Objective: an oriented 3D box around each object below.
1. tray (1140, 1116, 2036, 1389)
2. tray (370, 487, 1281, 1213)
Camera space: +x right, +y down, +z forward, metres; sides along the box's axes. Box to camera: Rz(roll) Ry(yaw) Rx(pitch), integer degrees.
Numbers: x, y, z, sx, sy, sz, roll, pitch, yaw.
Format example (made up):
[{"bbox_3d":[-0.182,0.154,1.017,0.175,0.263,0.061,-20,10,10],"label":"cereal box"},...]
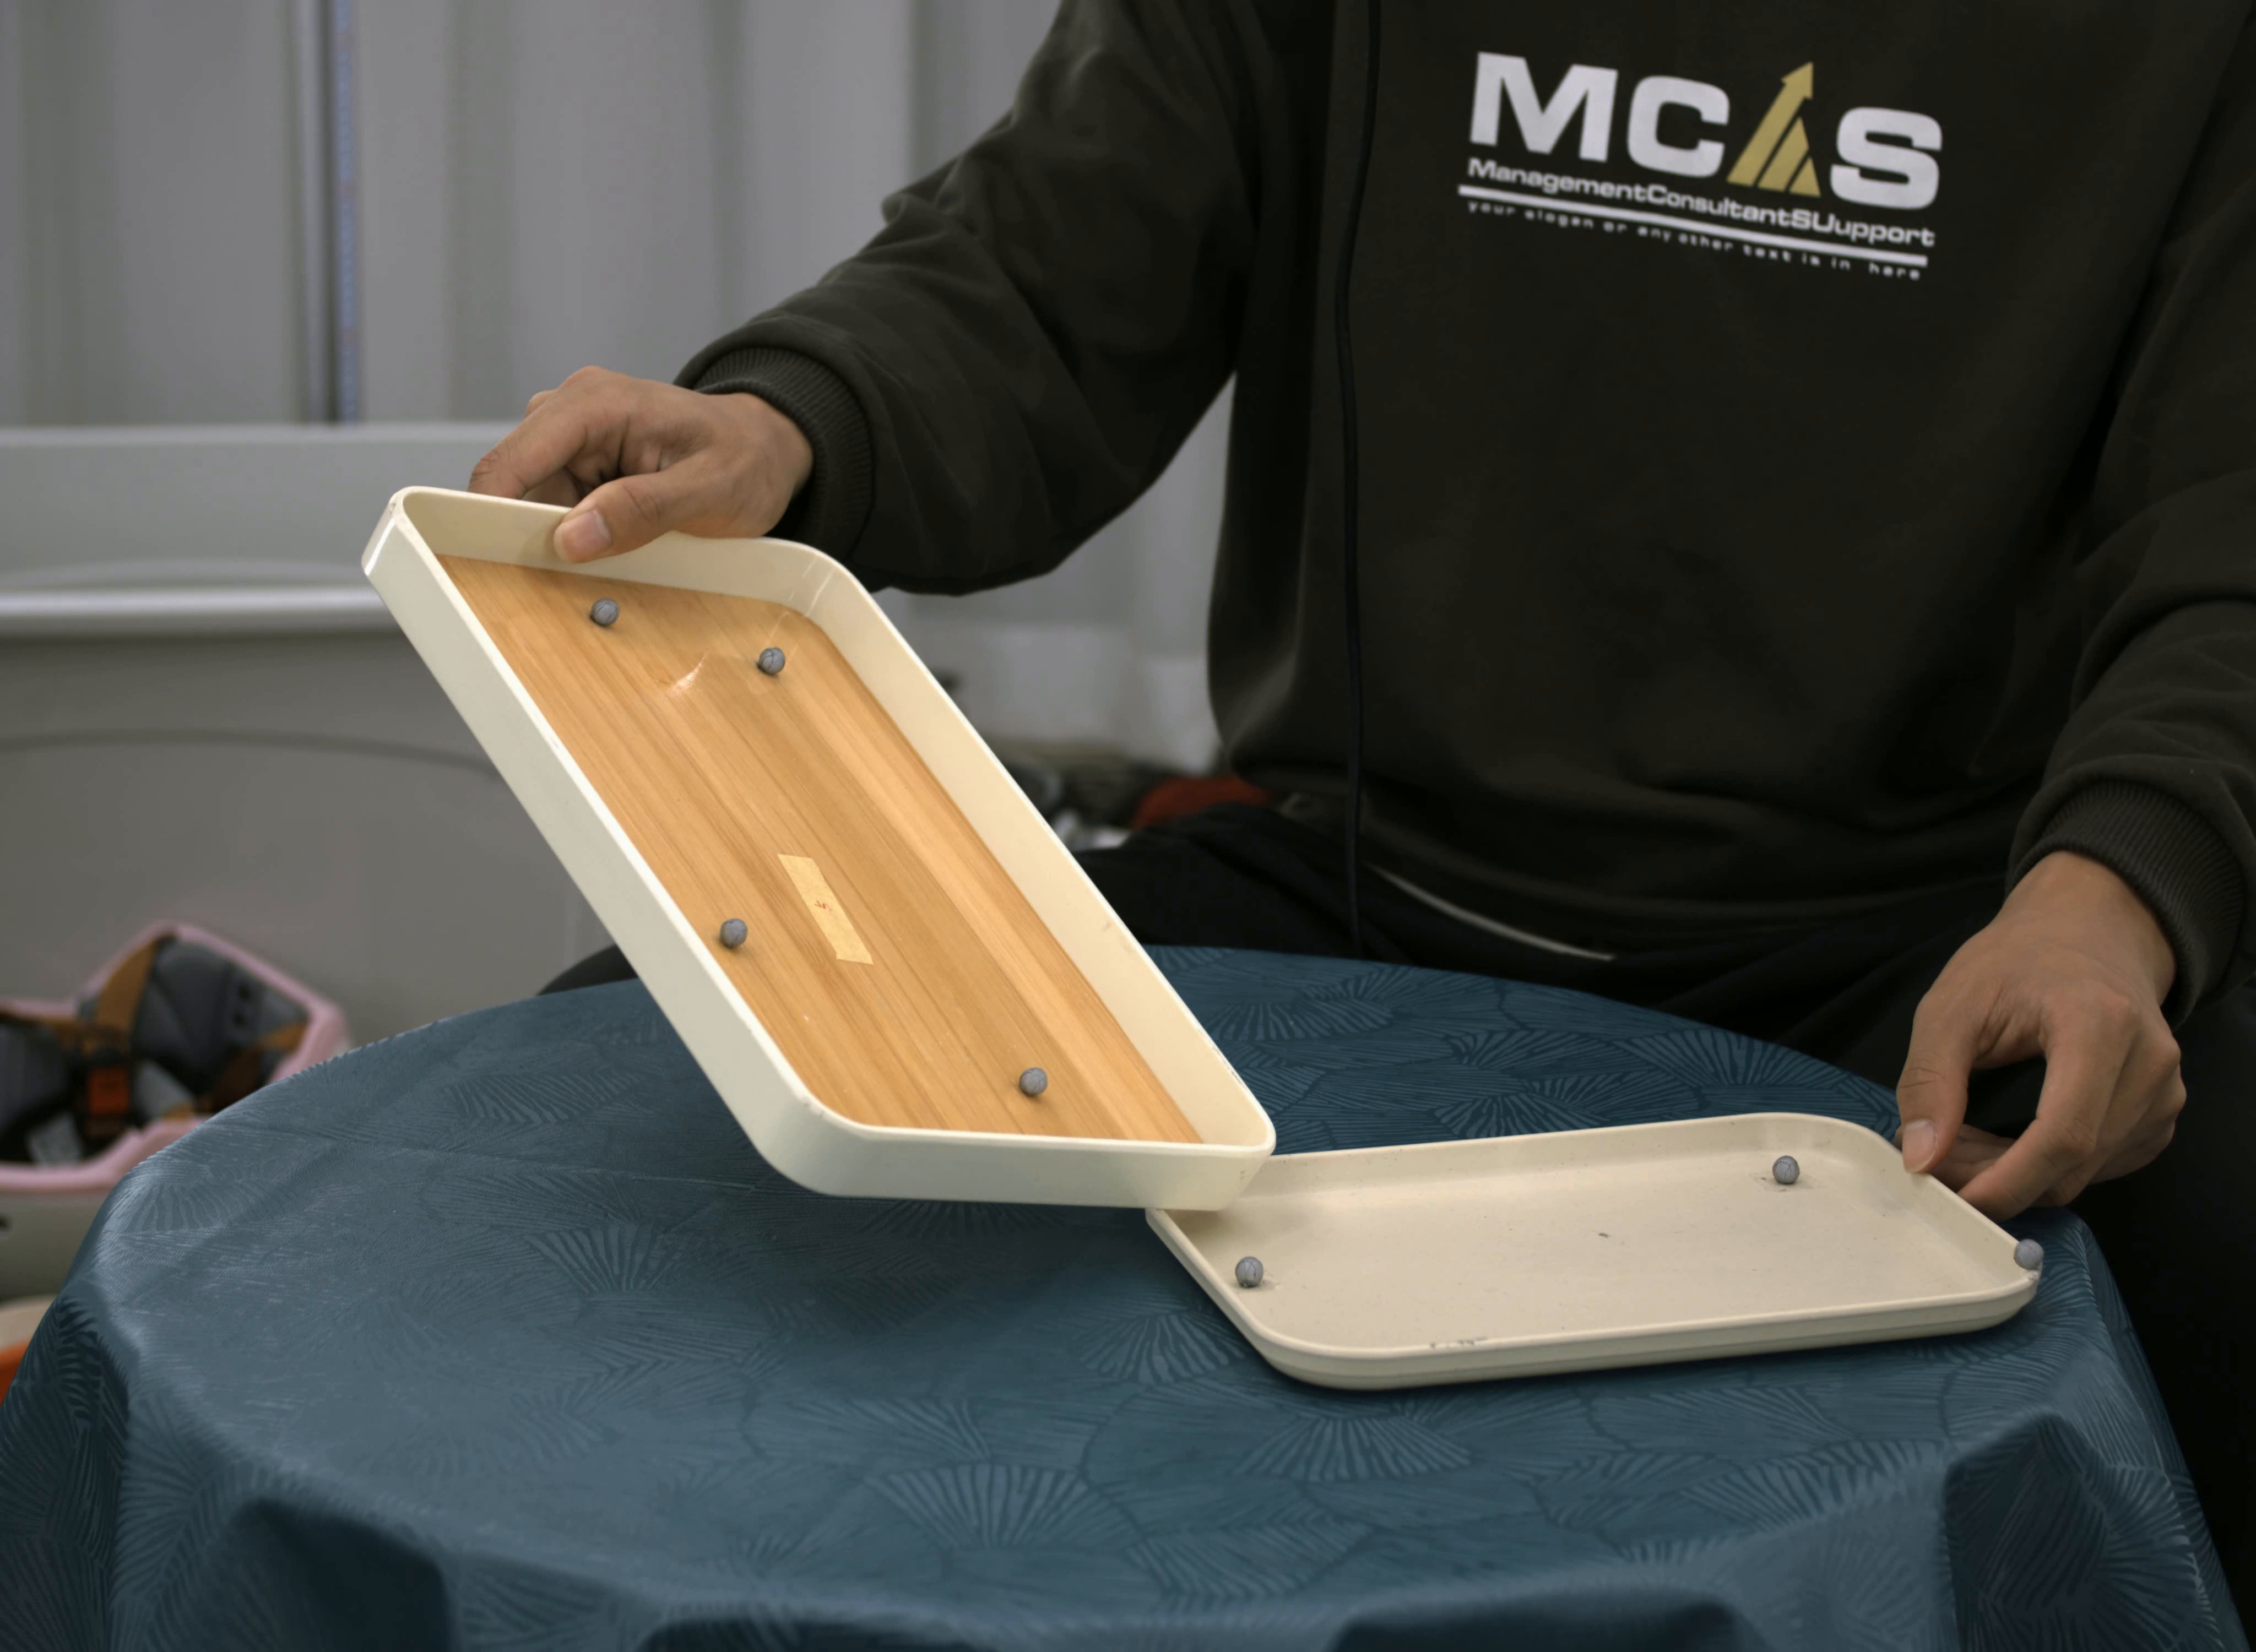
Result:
[{"bbox_3d":[0.134,0.126,1.559,0.240,0.017,0.169,-4,15,-17],"label":"tray"},{"bbox_3d":[-0.094,0.006,1.606,0.193,0.027,0.296,6,36,-45],"label":"tray"}]
